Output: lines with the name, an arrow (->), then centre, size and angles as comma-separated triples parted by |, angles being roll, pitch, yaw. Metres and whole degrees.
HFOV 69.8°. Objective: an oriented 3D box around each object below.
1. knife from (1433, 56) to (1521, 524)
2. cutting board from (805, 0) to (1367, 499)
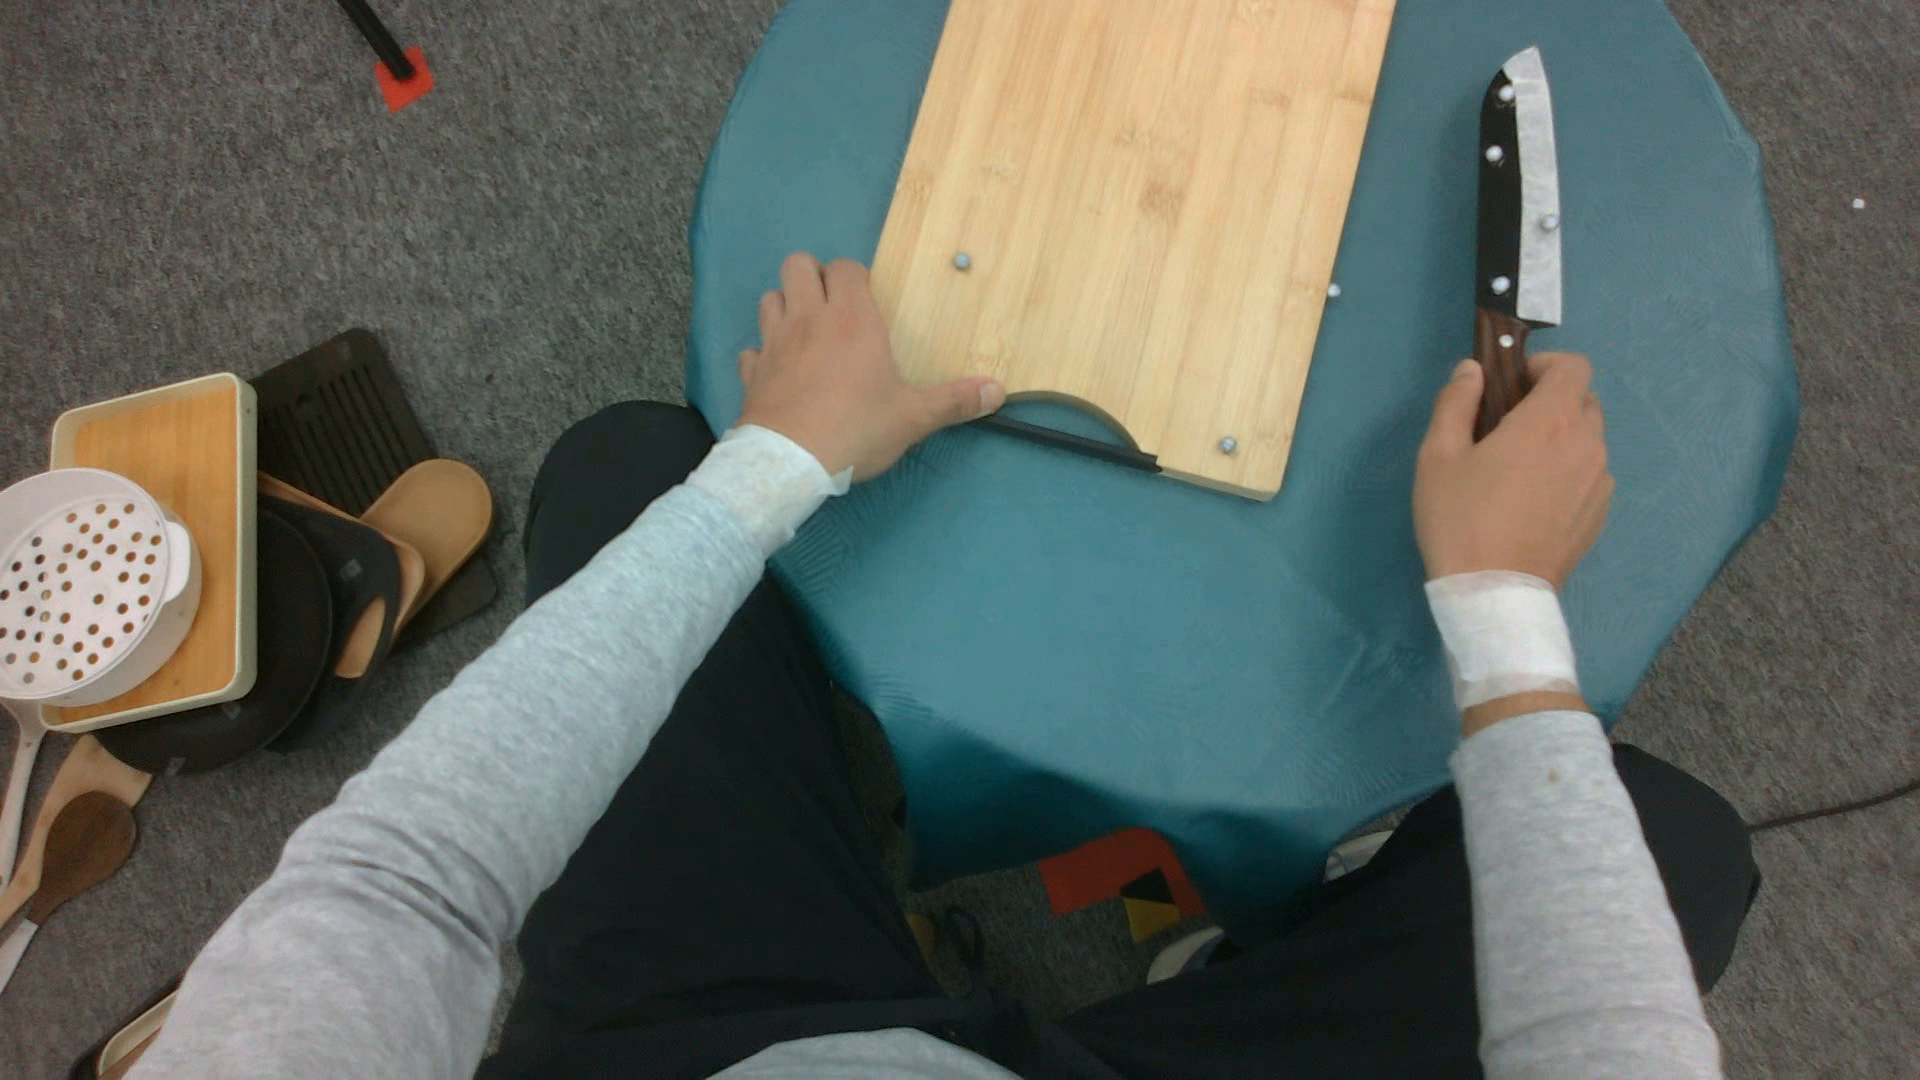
knife -> 0.274, -0.142, 0.732 | 0.050, 0.020, 0.290 | 10, 69, -1
cutting board -> 0.080, -0.214, 0.765 | 0.250, 0.023, 0.349 | 14, 77, 3
